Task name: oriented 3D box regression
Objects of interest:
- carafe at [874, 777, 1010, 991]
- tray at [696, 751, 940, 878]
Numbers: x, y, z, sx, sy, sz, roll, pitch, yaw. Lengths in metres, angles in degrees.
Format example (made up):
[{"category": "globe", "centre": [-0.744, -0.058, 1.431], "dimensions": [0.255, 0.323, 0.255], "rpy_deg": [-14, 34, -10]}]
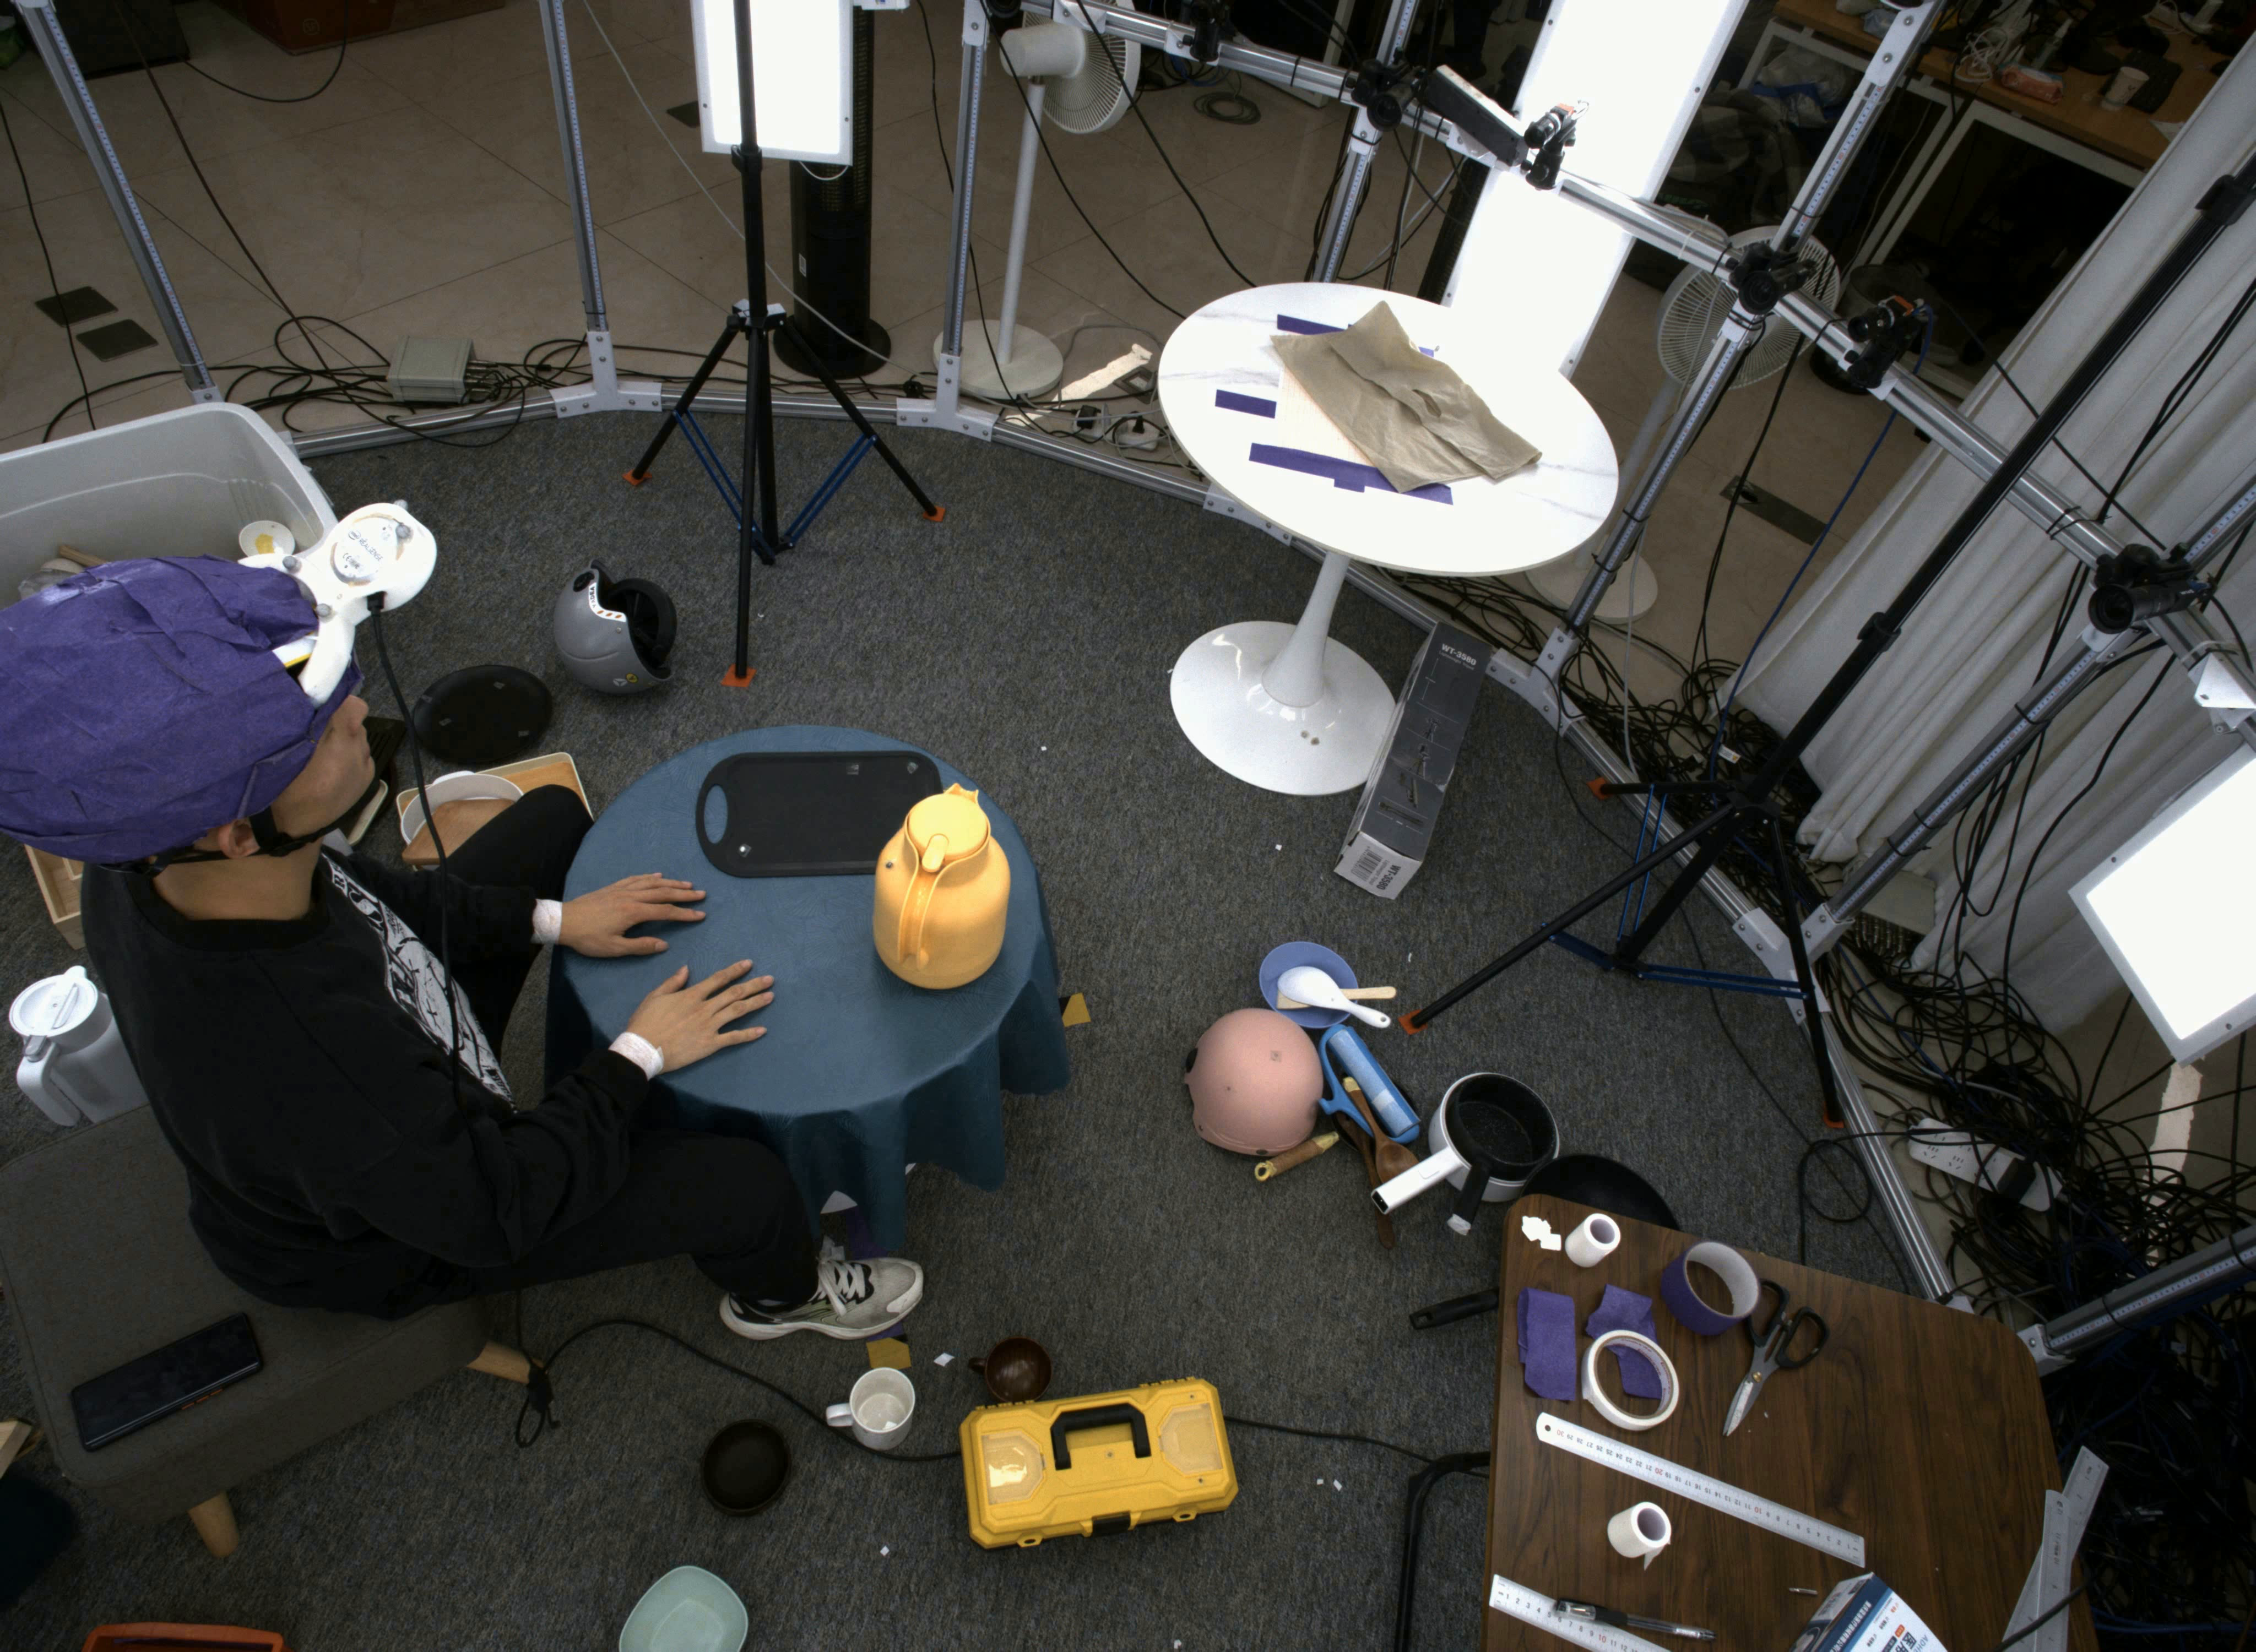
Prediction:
[{"category": "carafe", "centre": [-0.229, 0.081, 1.542], "dimensions": [0.161, 0.267, 0.200], "rpy_deg": [17, 49, 4]}, {"category": "tray", "centre": [-0.411, -0.021, 1.736], "dimensions": [0.326, 0.010, 0.206], "rpy_deg": [-1, 54, -15]}]
